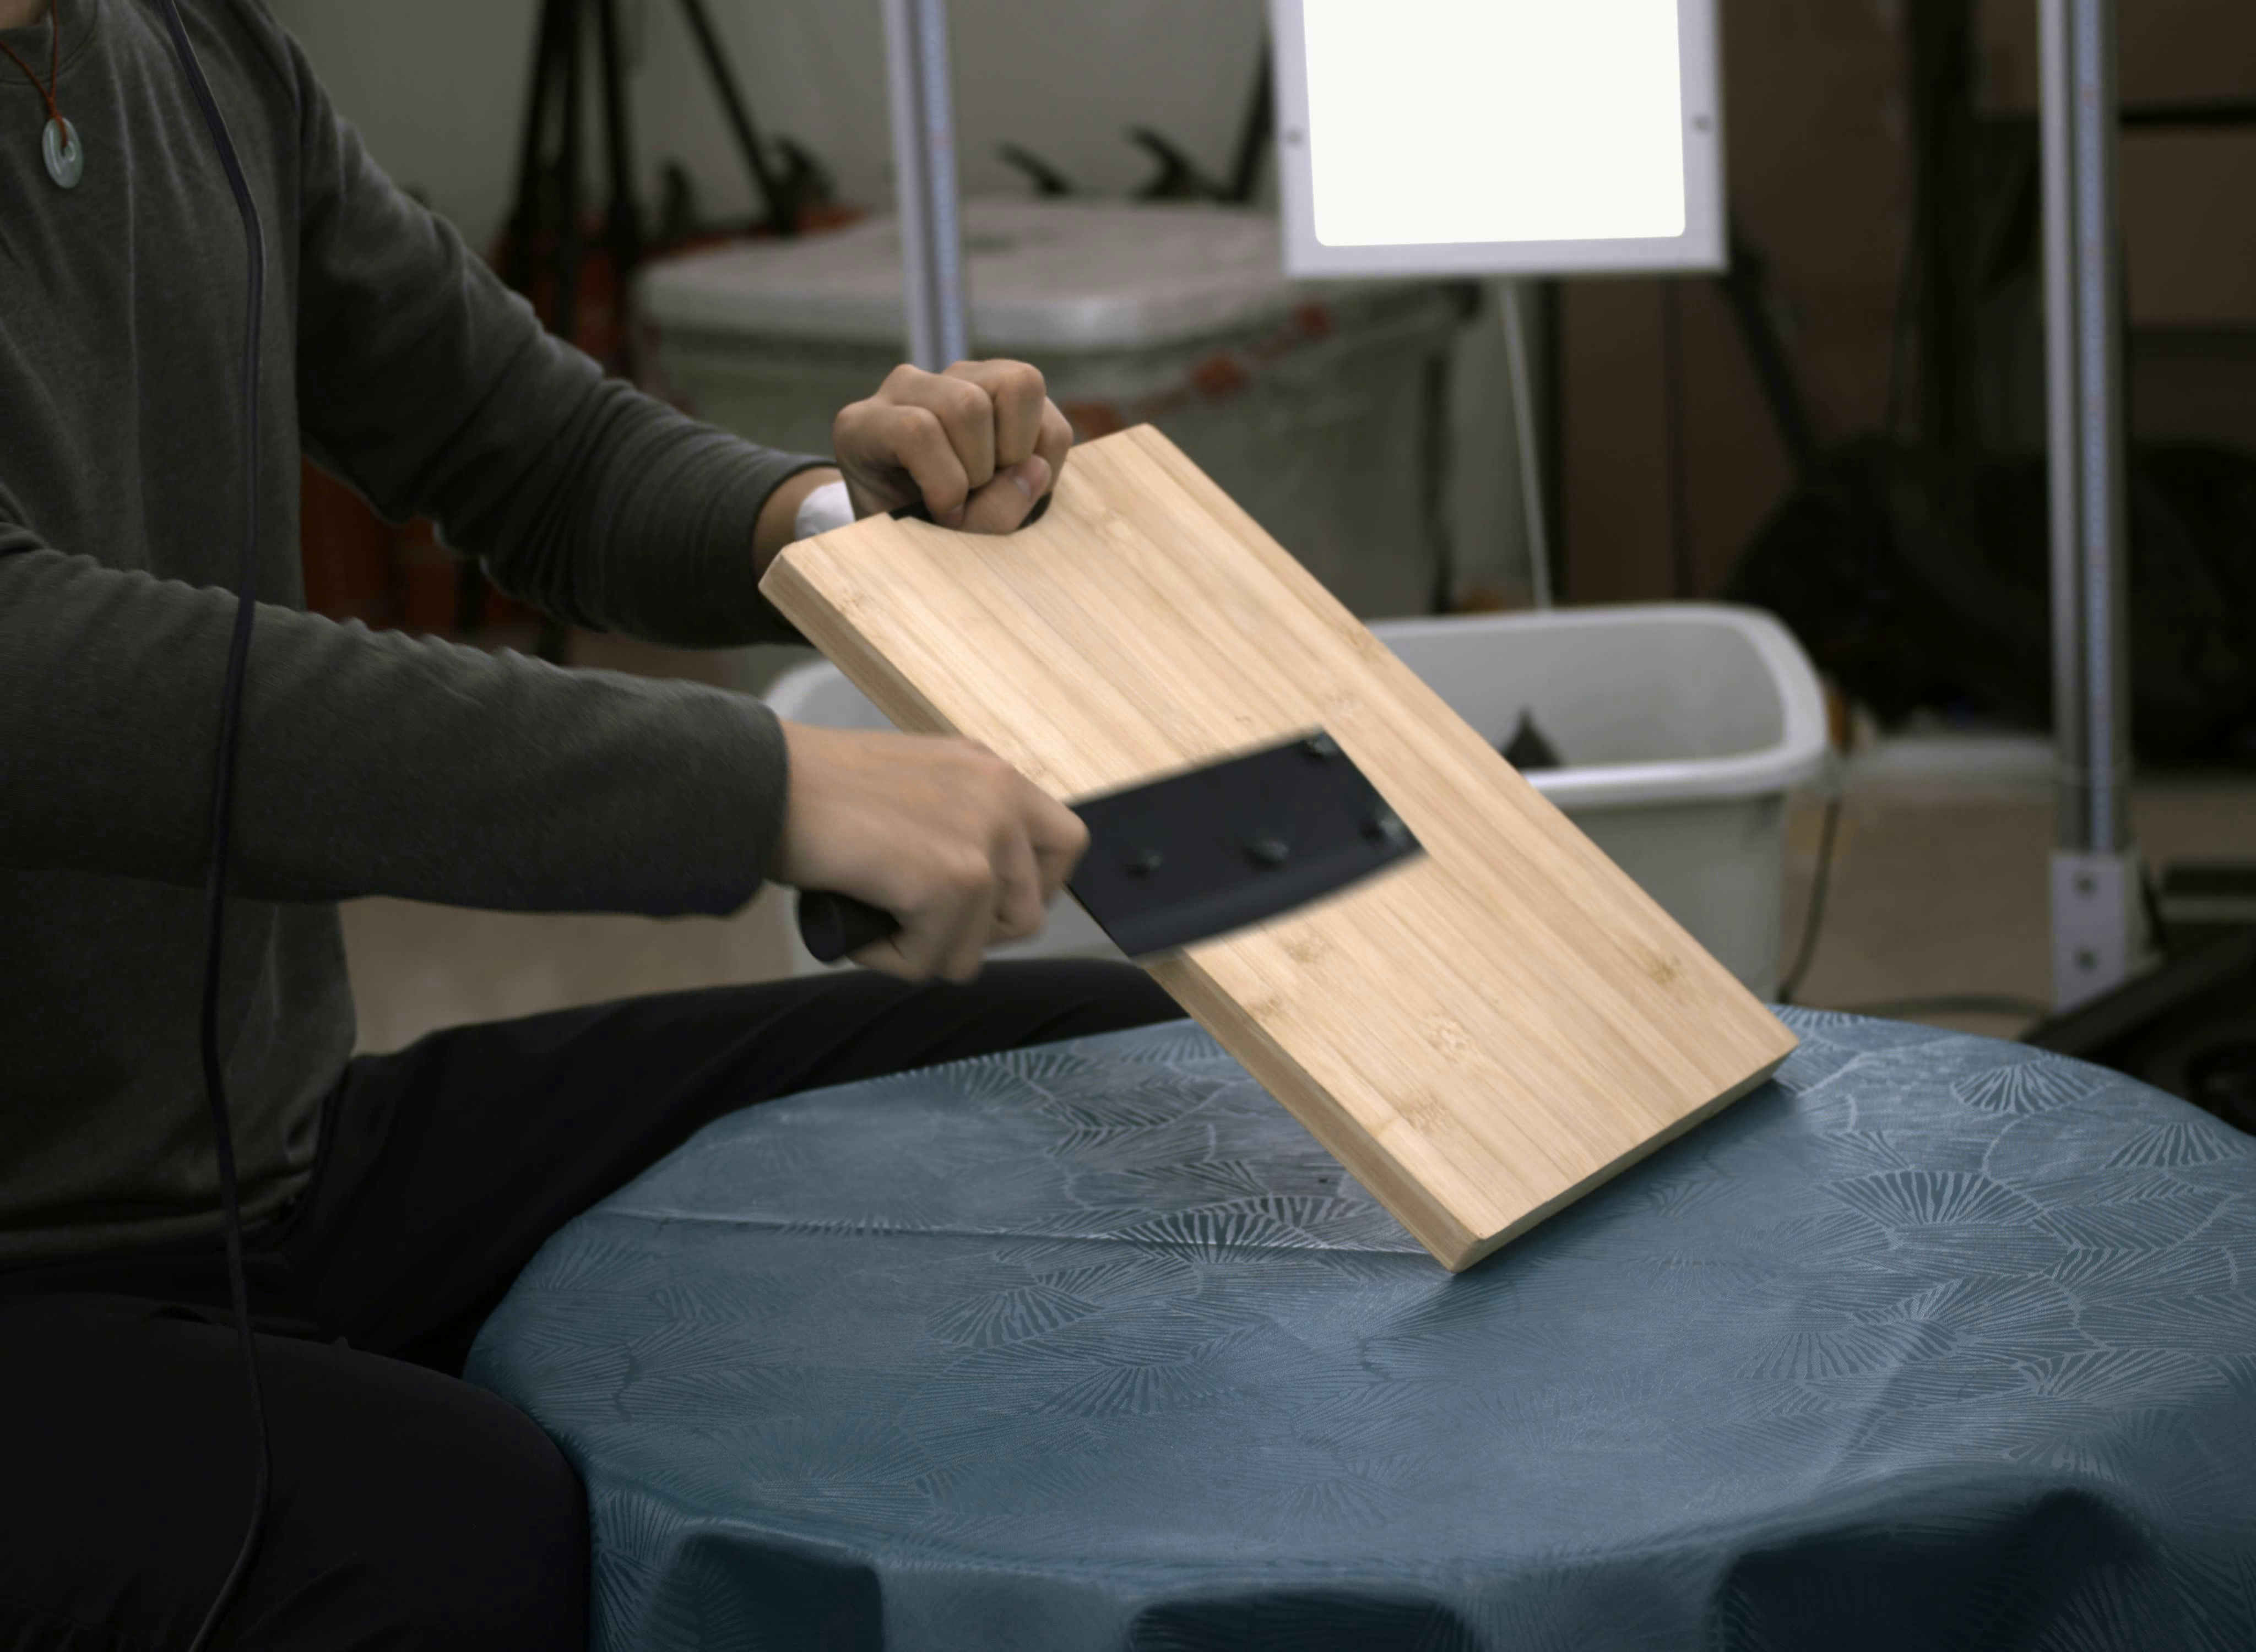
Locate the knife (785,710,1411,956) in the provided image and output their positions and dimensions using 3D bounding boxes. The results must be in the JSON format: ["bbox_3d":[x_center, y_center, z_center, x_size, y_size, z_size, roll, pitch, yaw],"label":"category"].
[{"bbox_3d":[-0.007,0.008,1.832,0.294,0.021,0.081,-12,56,-48],"label":"knife"}]

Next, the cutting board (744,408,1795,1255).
[{"bbox_3d":[0.053,-0.006,1.924,0.351,0.024,0.245,44,33,16],"label":"cutting board"}]
